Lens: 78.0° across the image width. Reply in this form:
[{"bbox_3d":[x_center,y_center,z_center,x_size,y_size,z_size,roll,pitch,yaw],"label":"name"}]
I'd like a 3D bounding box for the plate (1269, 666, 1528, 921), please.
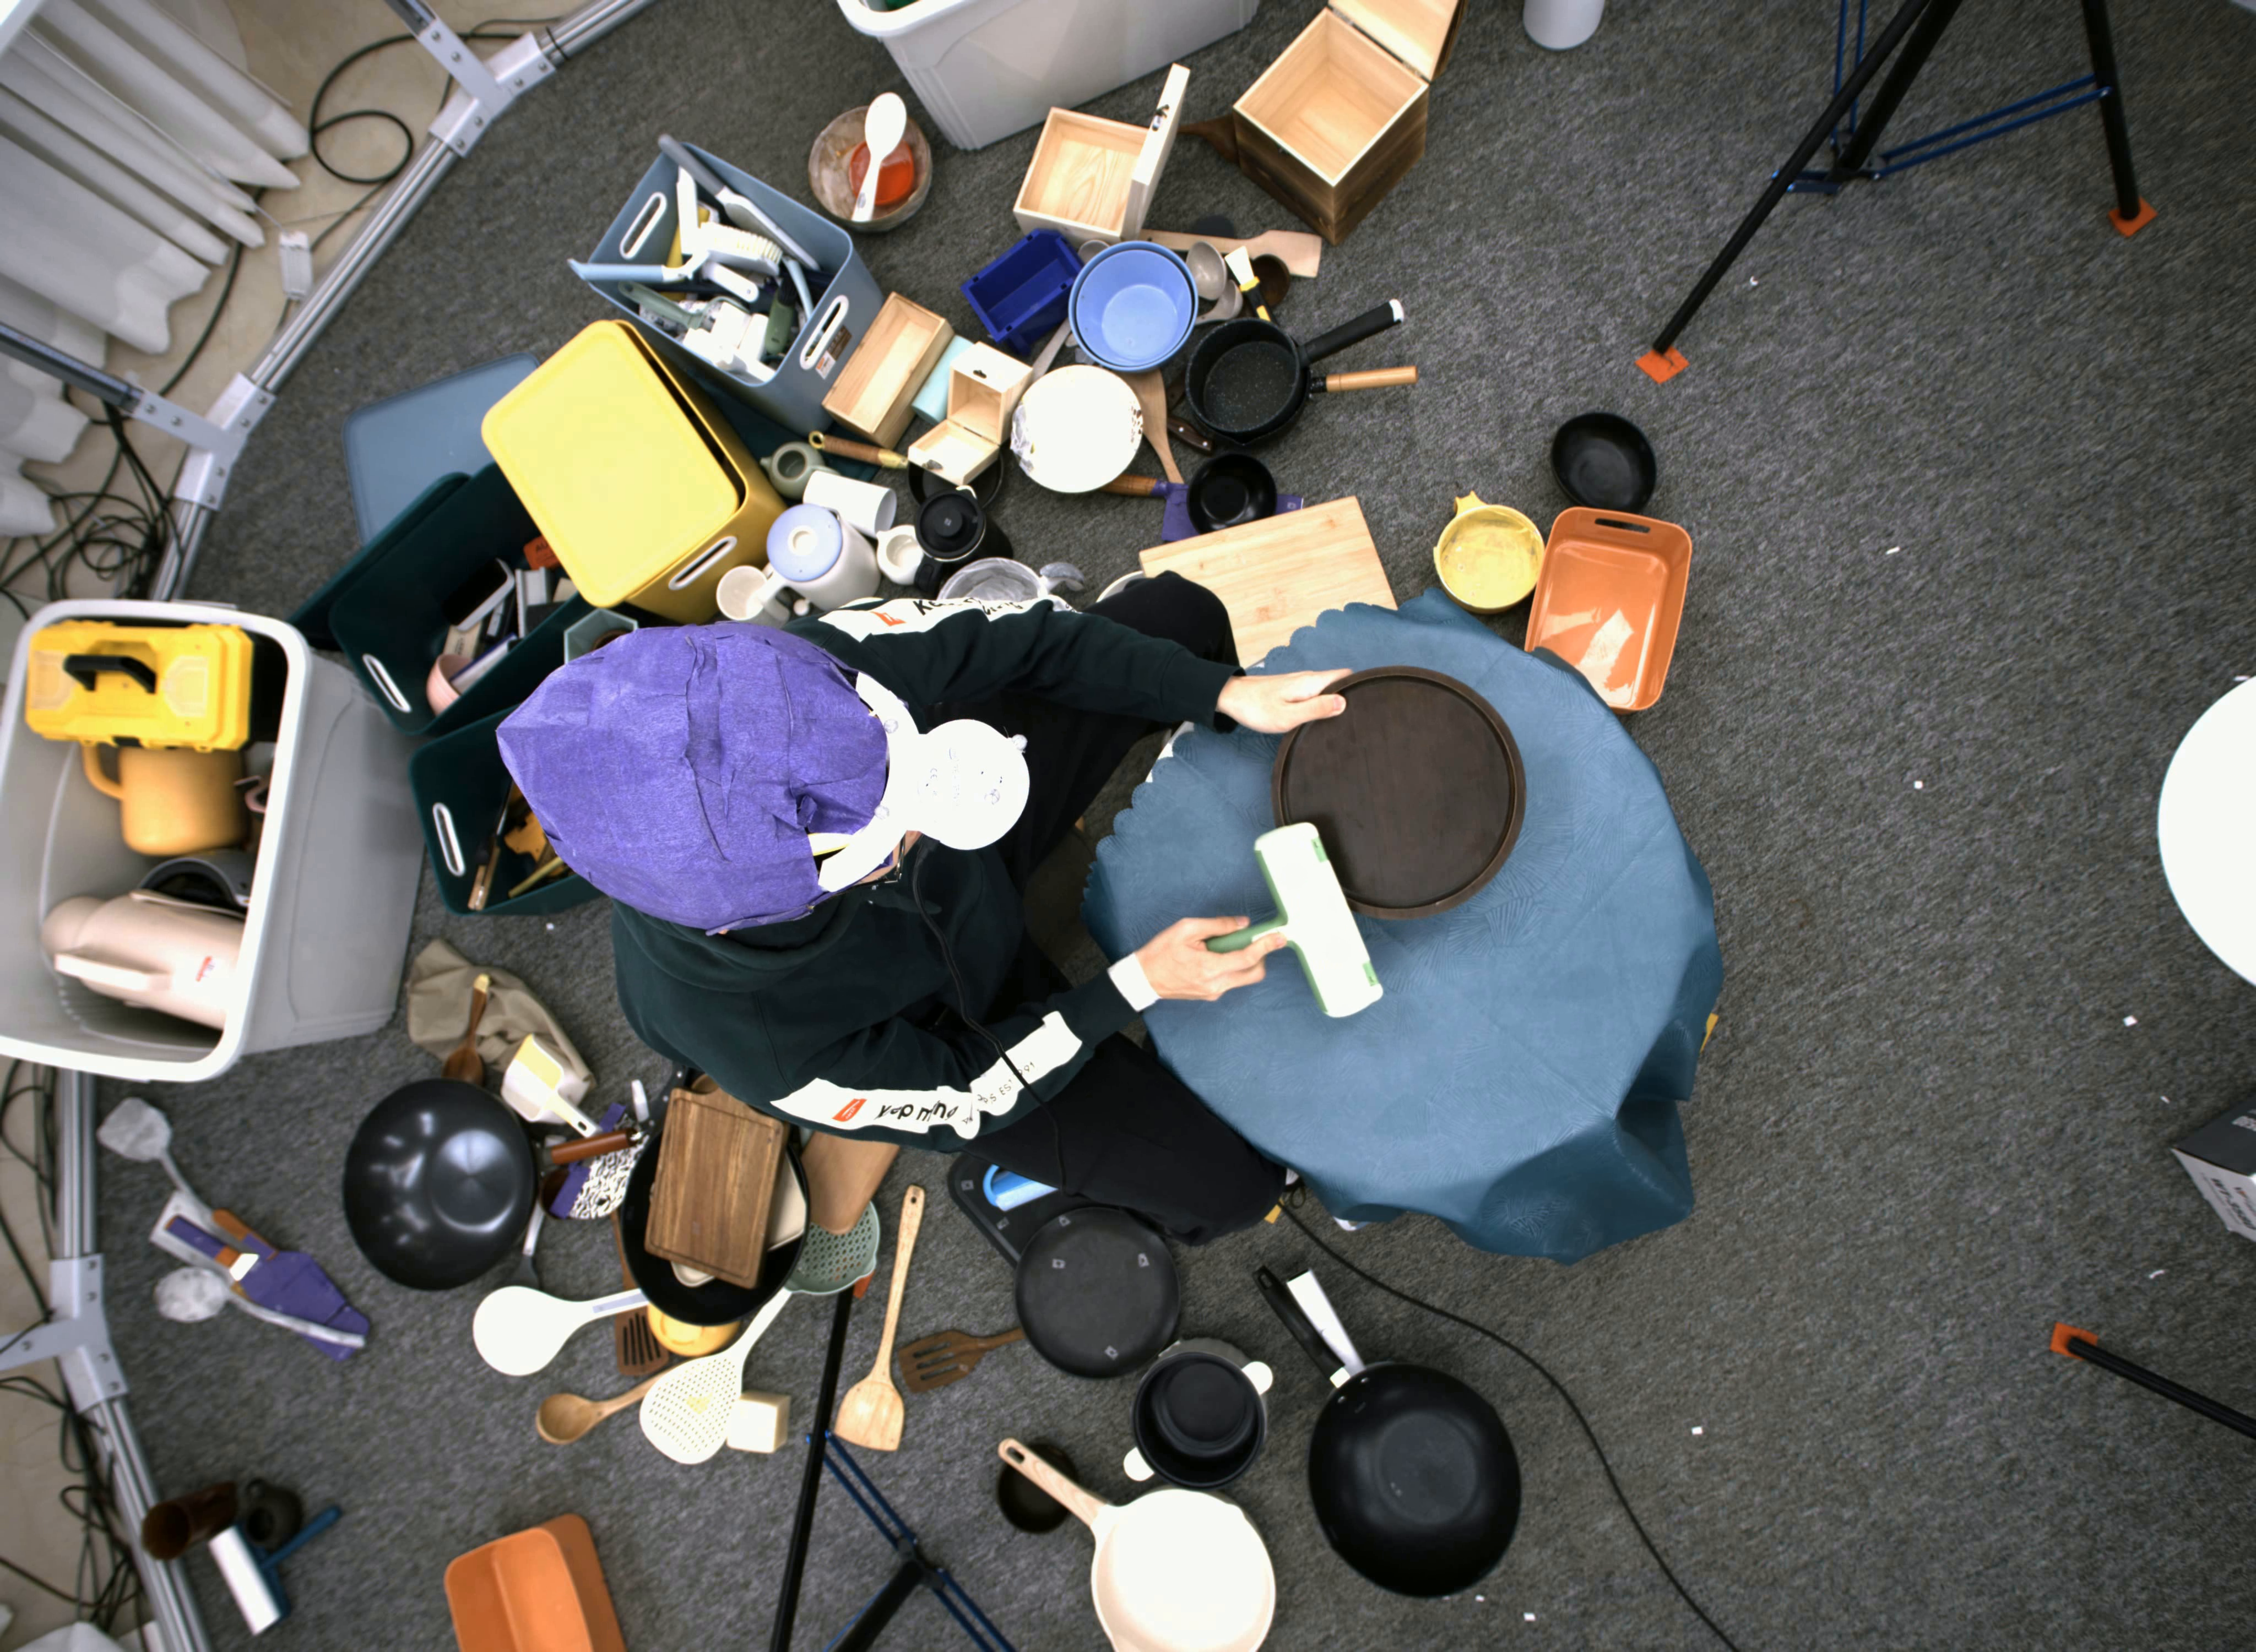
[{"bbox_3d":[0.267,-0.033,1.366,0.256,0.029,0.256,2,98,18],"label":"plate"}]

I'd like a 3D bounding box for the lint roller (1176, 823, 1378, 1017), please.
[{"bbox_3d":[0.132,0.116,1.385,0.184,0.081,0.200,-22,100,9],"label":"lint roller"}]
